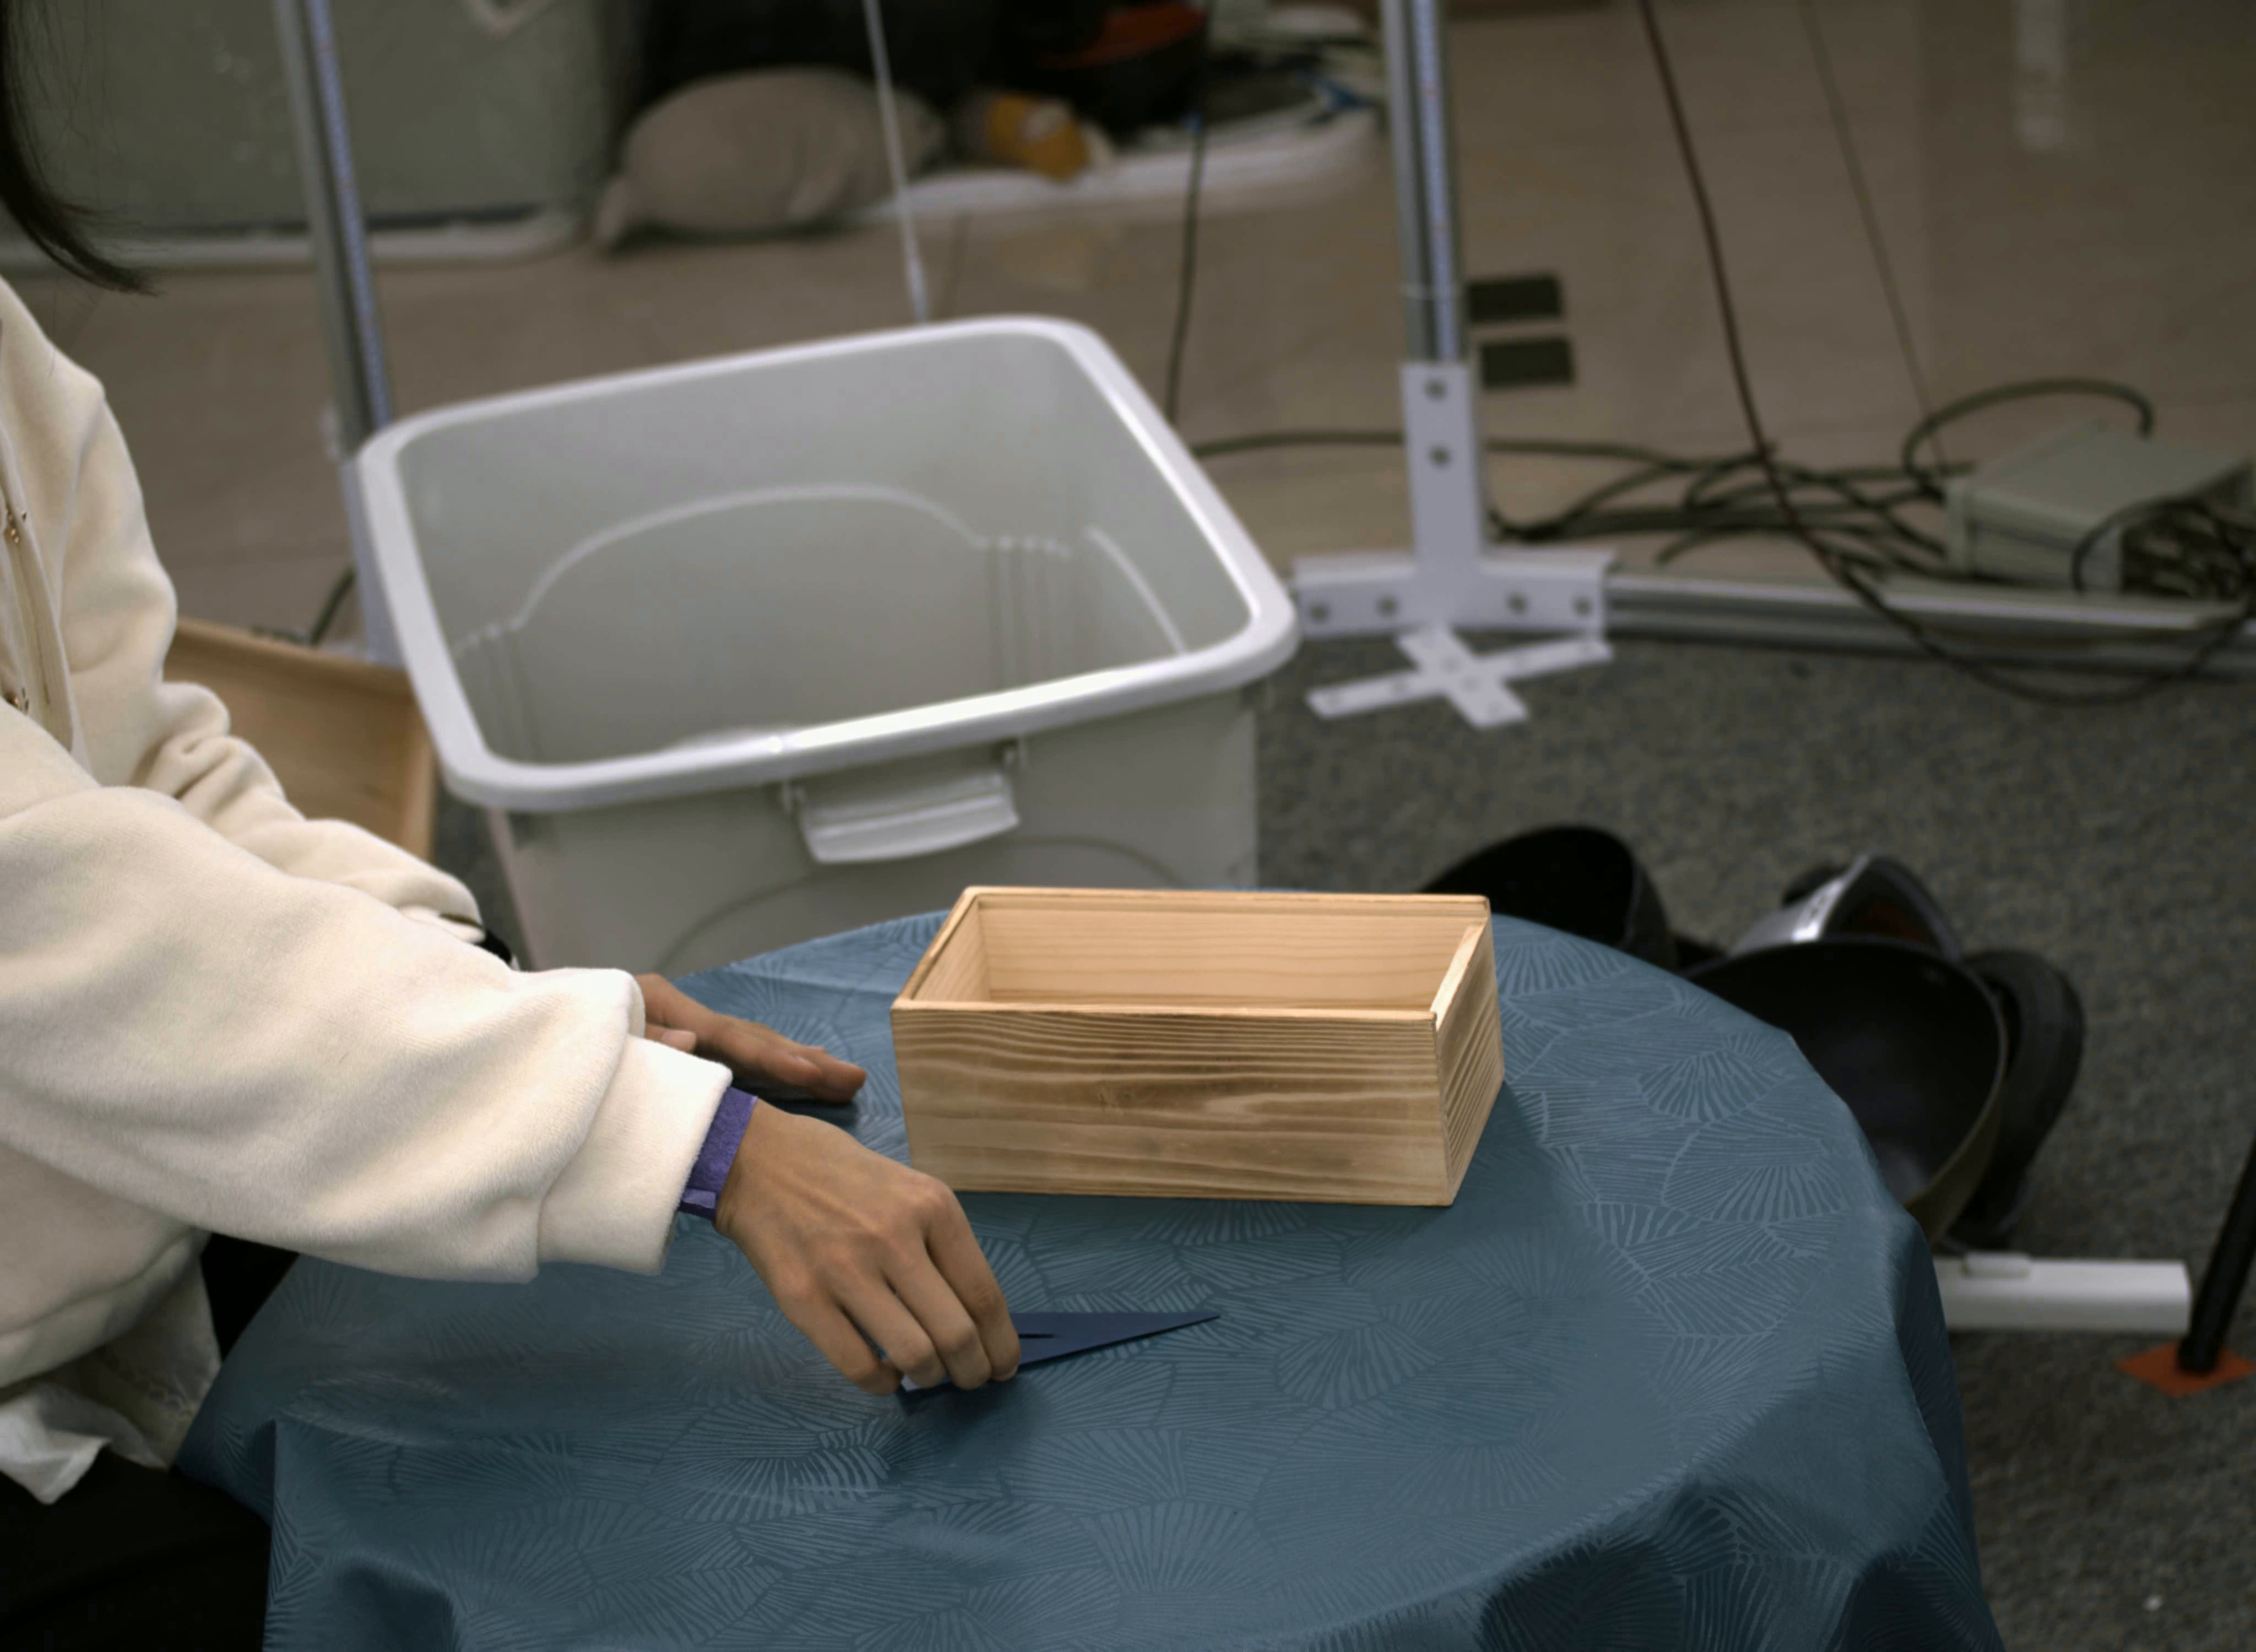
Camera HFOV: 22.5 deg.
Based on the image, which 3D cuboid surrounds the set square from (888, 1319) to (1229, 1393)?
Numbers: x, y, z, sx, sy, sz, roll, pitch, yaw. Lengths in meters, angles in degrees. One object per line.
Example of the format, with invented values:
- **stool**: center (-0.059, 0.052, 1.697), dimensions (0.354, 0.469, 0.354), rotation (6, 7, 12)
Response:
- **set square**: center (-0.032, 0.191, 2.037), dimensions (0.132, 0.006, 0.060), rotation (1, 21, 16)

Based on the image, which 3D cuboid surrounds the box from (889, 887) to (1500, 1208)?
- **box**: center (0.027, 0.083, 2.166), dimensions (0.211, 0.081, 0.106), rotation (1, 26, 15)
